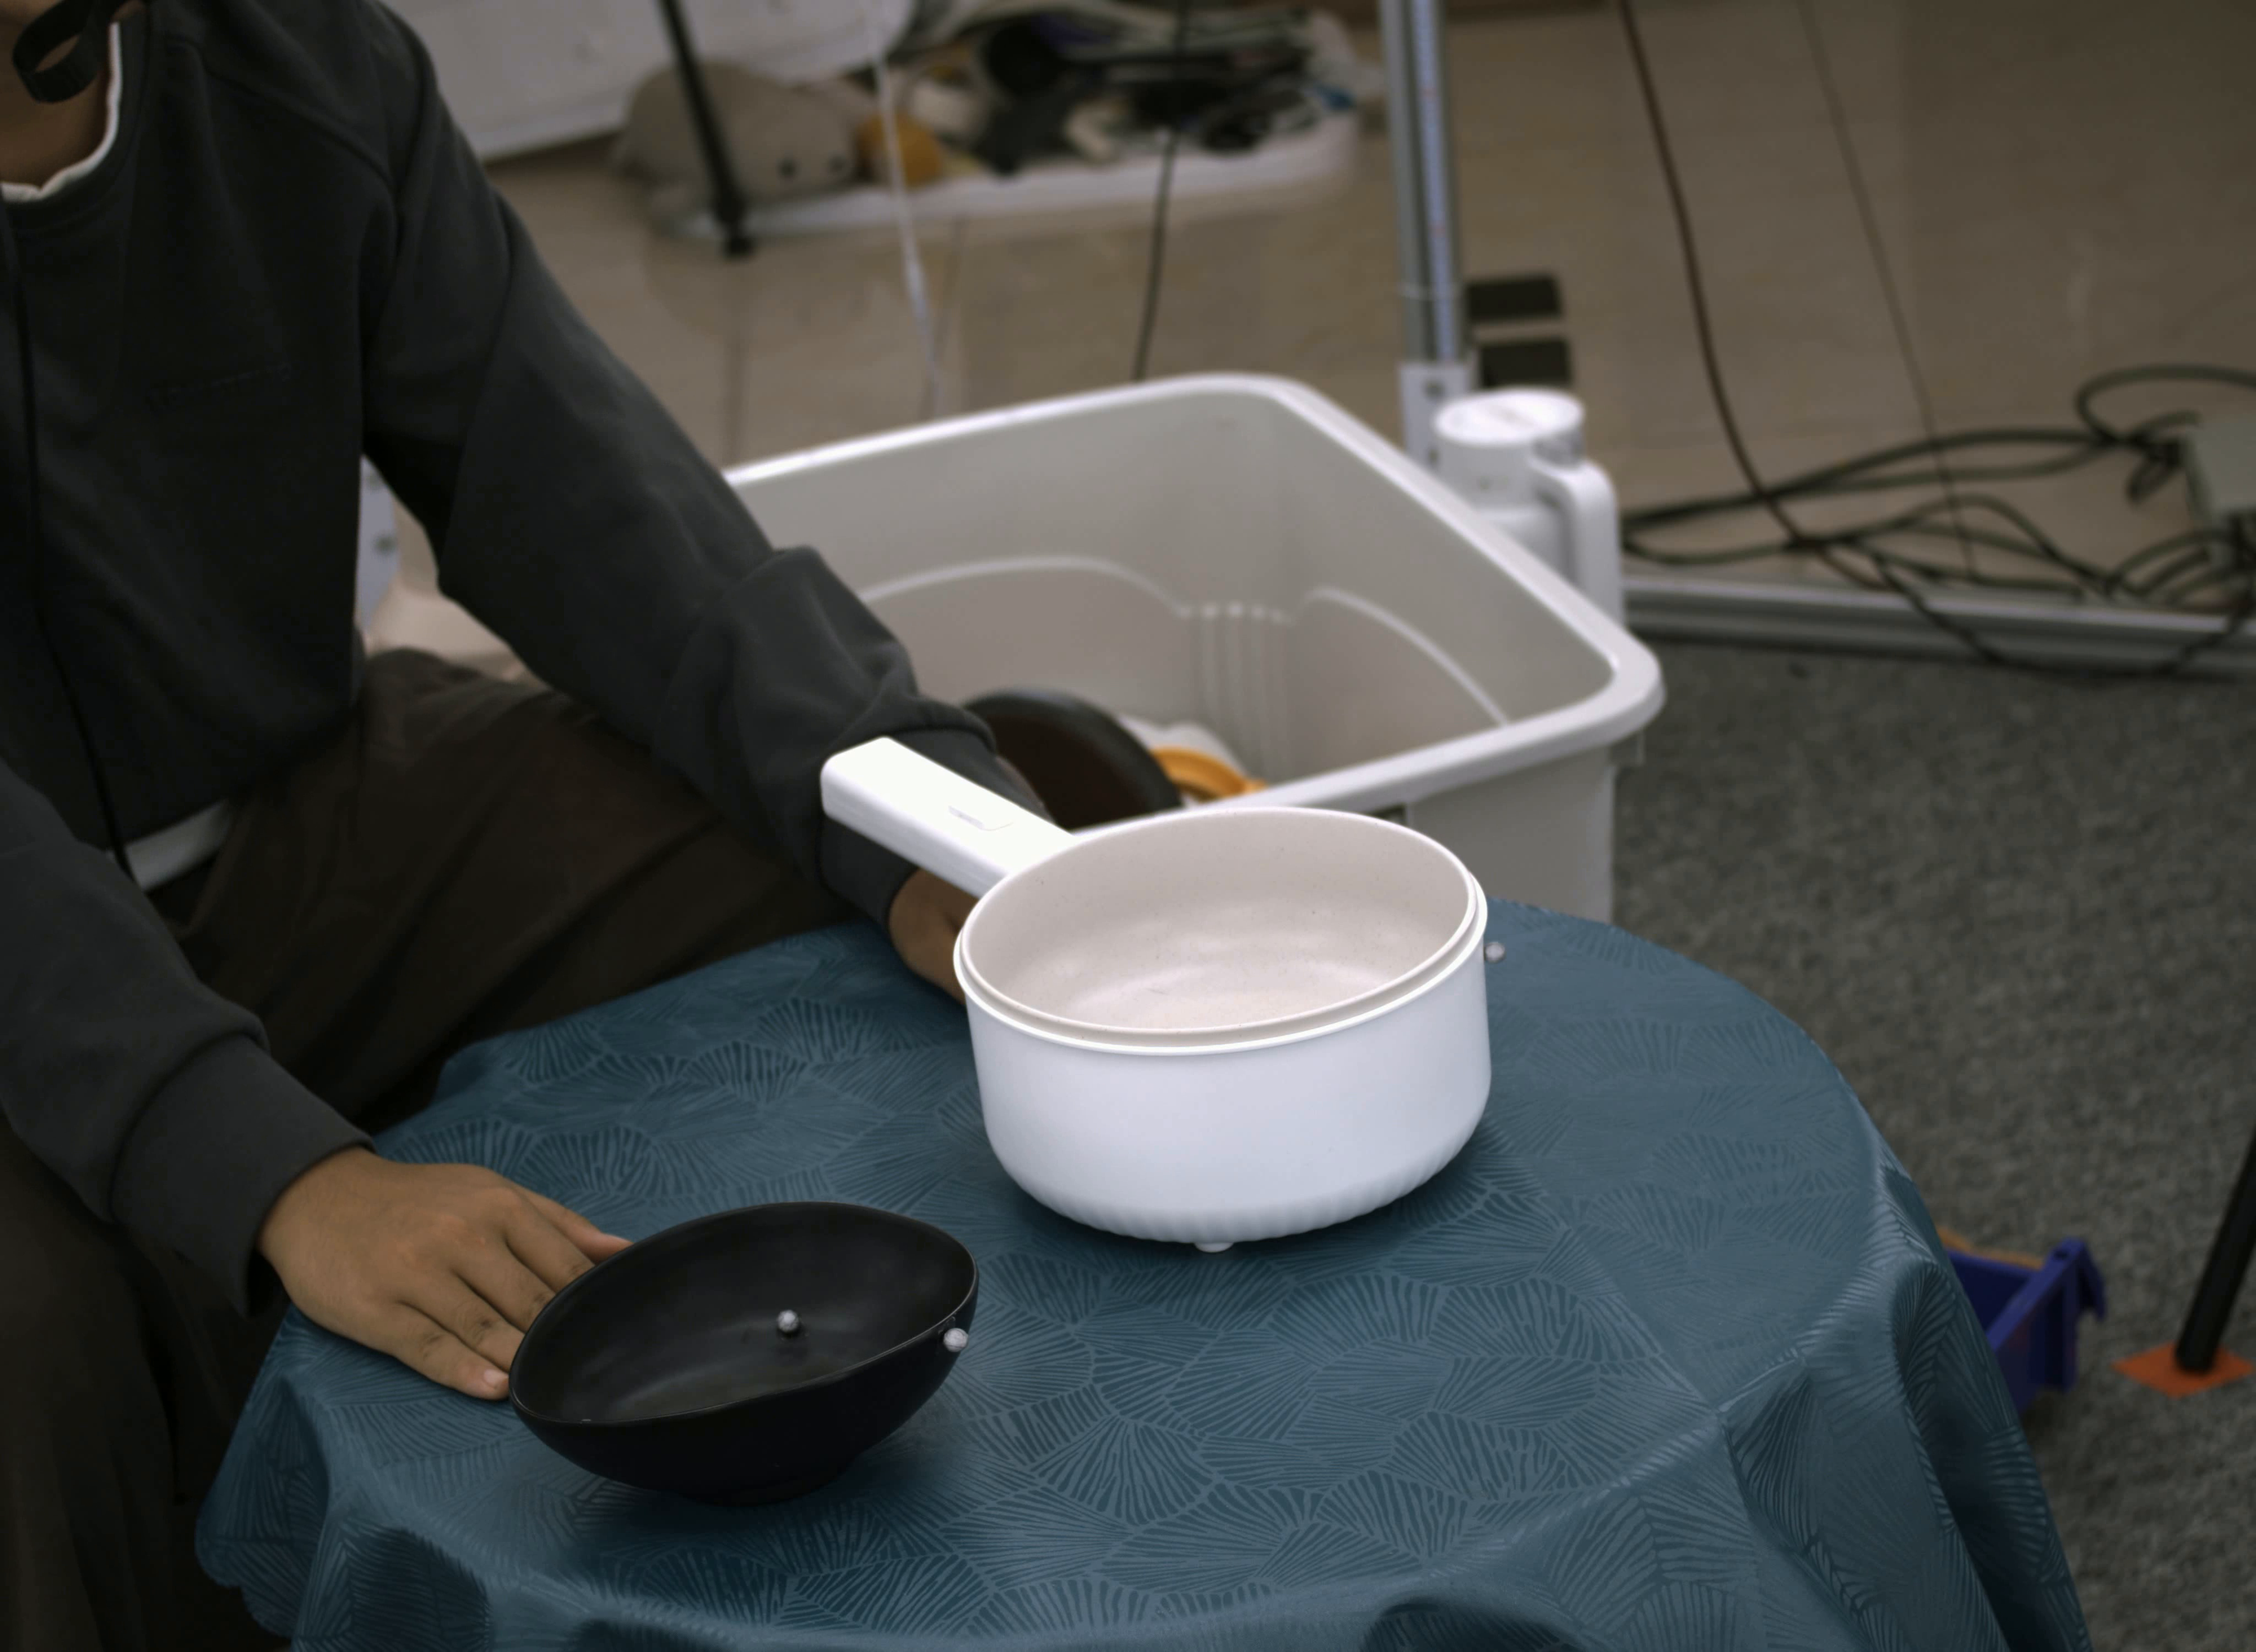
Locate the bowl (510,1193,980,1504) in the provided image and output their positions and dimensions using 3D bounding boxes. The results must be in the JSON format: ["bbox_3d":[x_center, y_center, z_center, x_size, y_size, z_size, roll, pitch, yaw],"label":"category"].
[{"bbox_3d":[-0.130,0.193,1.984,0.169,0.068,0.135,-17,27,-18],"label":"bowl"}]

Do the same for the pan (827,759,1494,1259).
[{"bbox_3d":[-0.004,0.063,2.207,0.200,0.103,0.351,-24,28,-29],"label":"pan"}]
